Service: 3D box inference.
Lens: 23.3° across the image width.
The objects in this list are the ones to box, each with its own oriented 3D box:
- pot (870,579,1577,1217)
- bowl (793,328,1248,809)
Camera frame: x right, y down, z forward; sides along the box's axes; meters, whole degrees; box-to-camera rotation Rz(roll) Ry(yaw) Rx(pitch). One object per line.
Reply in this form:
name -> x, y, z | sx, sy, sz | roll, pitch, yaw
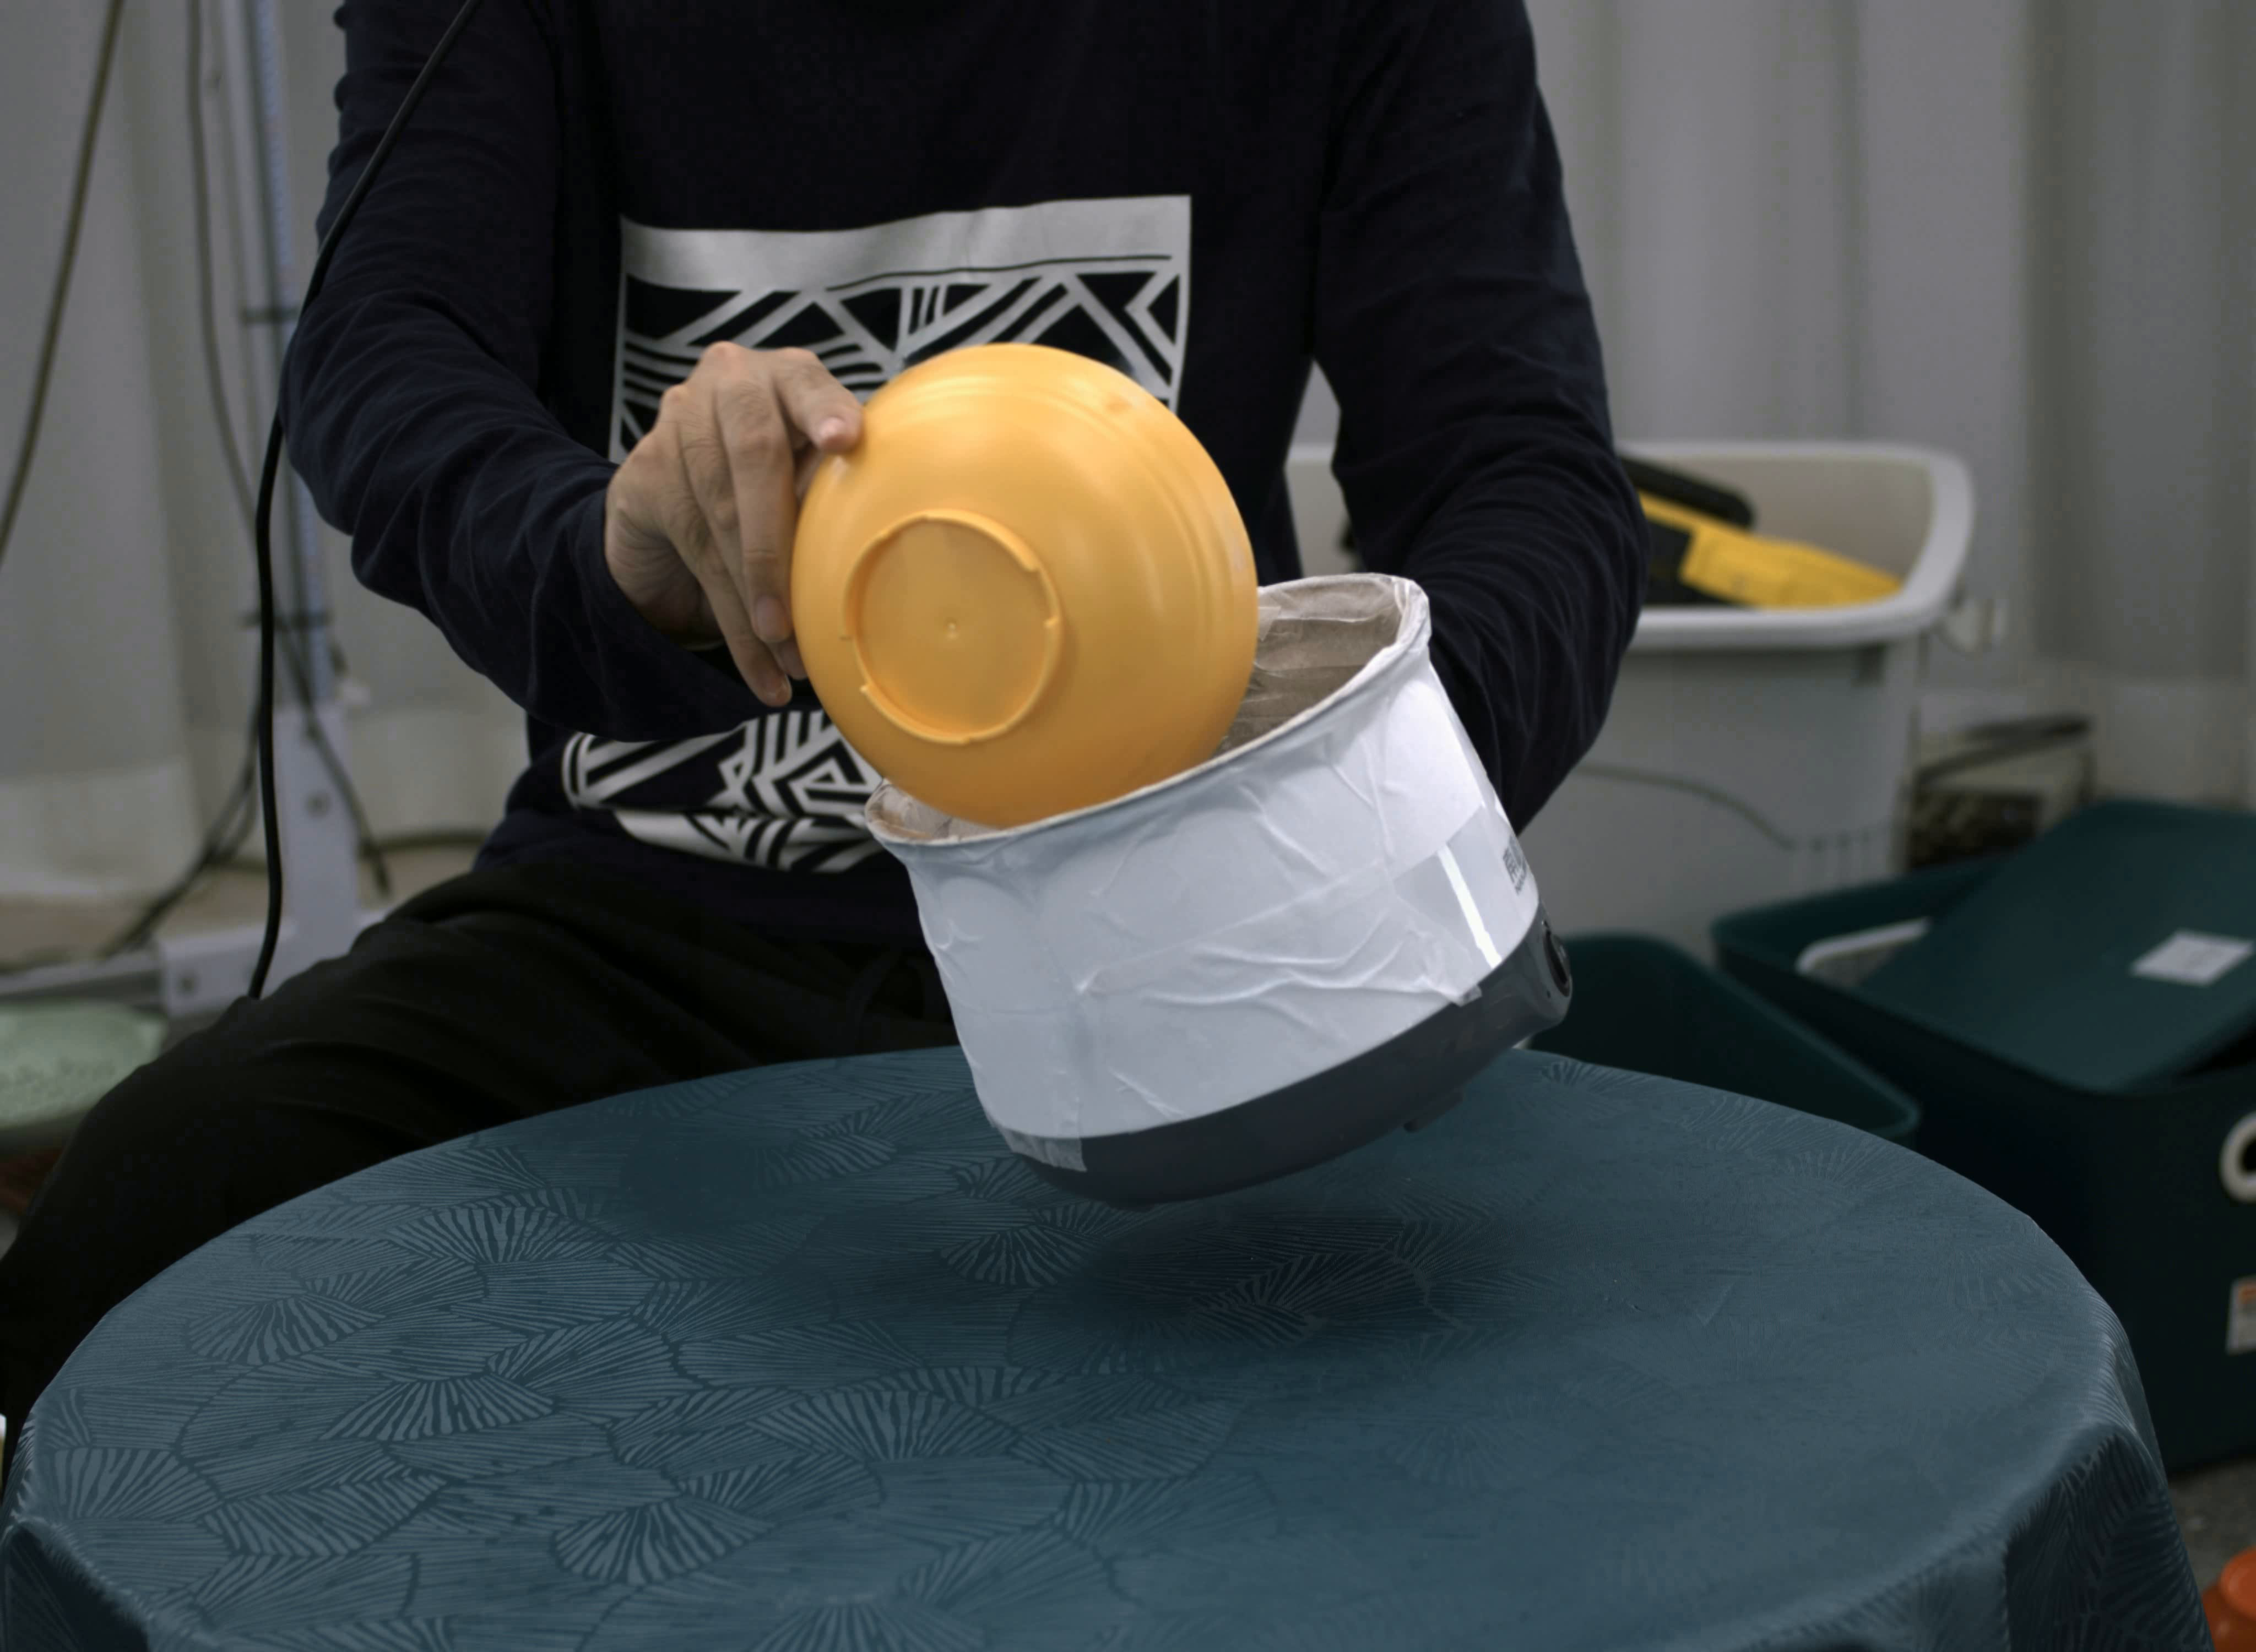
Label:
pot -> 0.033, 0.014, 1.640 | 0.178, 0.136, 0.235 | -18, 14, 14
bowl -> -0.042, -0.065, 1.564 | 0.145, 0.144, 0.060 | 5, 19, 27
